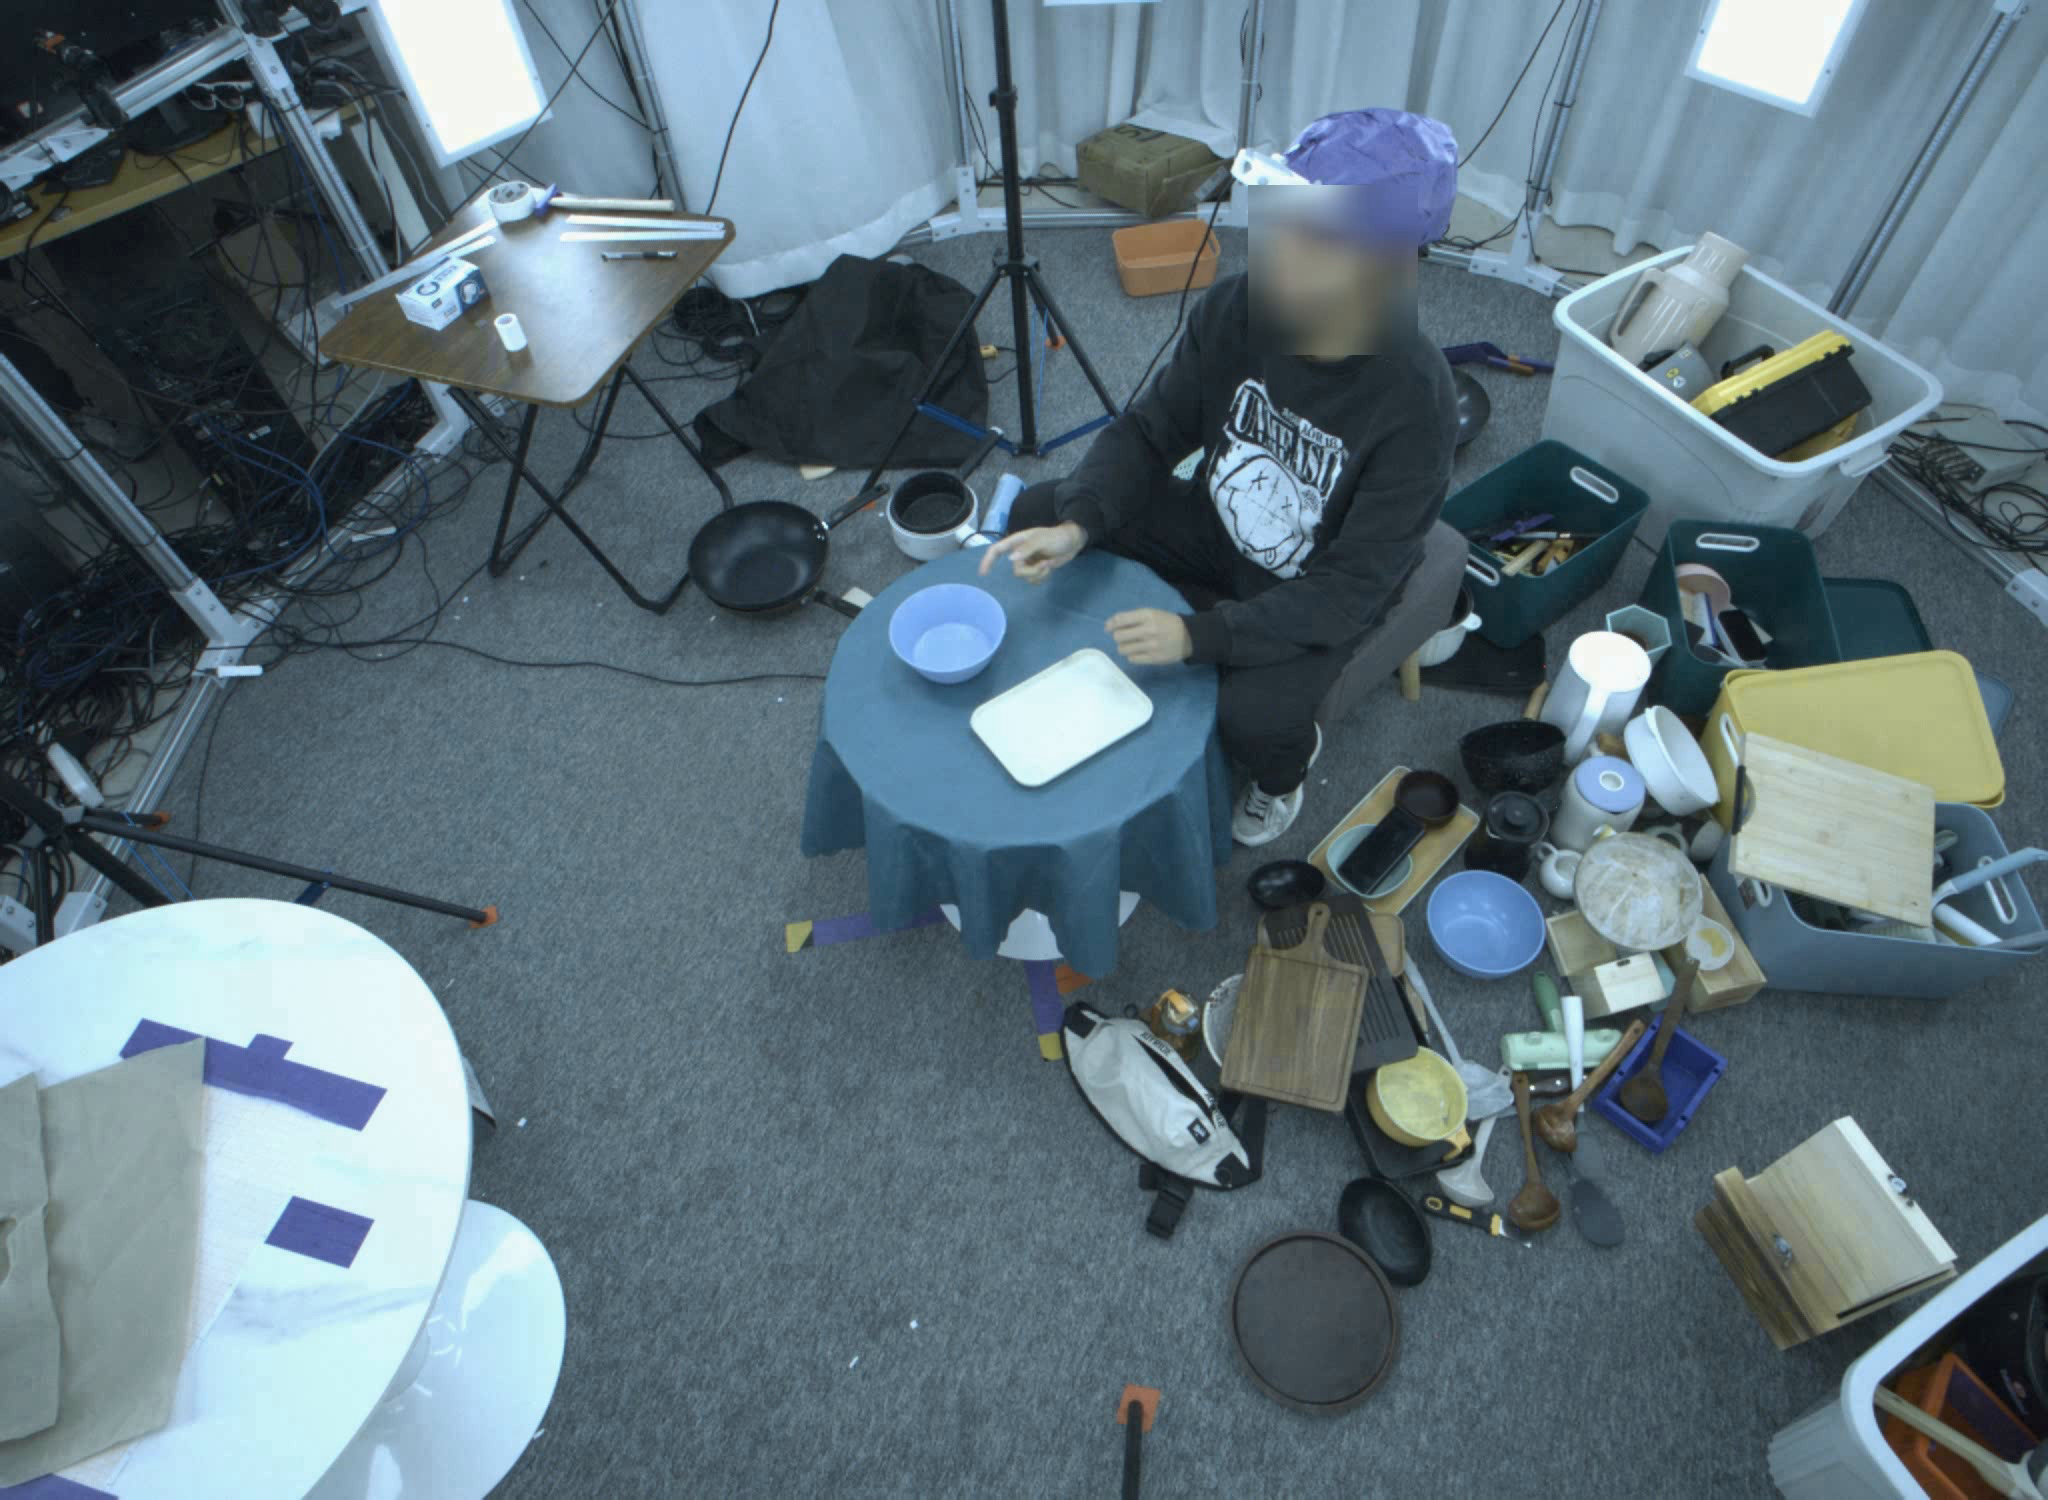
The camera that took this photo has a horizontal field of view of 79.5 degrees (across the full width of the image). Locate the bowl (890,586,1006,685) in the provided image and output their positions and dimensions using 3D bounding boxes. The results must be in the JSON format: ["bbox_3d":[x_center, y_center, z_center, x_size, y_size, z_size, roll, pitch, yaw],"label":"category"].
[{"bbox_3d":[-0.113,-0.165,1.873,0.176,0.071,0.174,0,56,1],"label":"bowl"}]

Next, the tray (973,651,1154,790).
[{"bbox_3d":[0.058,-0.045,1.817,0.241,0.017,0.168,-30,60,-18],"label":"tray"}]
